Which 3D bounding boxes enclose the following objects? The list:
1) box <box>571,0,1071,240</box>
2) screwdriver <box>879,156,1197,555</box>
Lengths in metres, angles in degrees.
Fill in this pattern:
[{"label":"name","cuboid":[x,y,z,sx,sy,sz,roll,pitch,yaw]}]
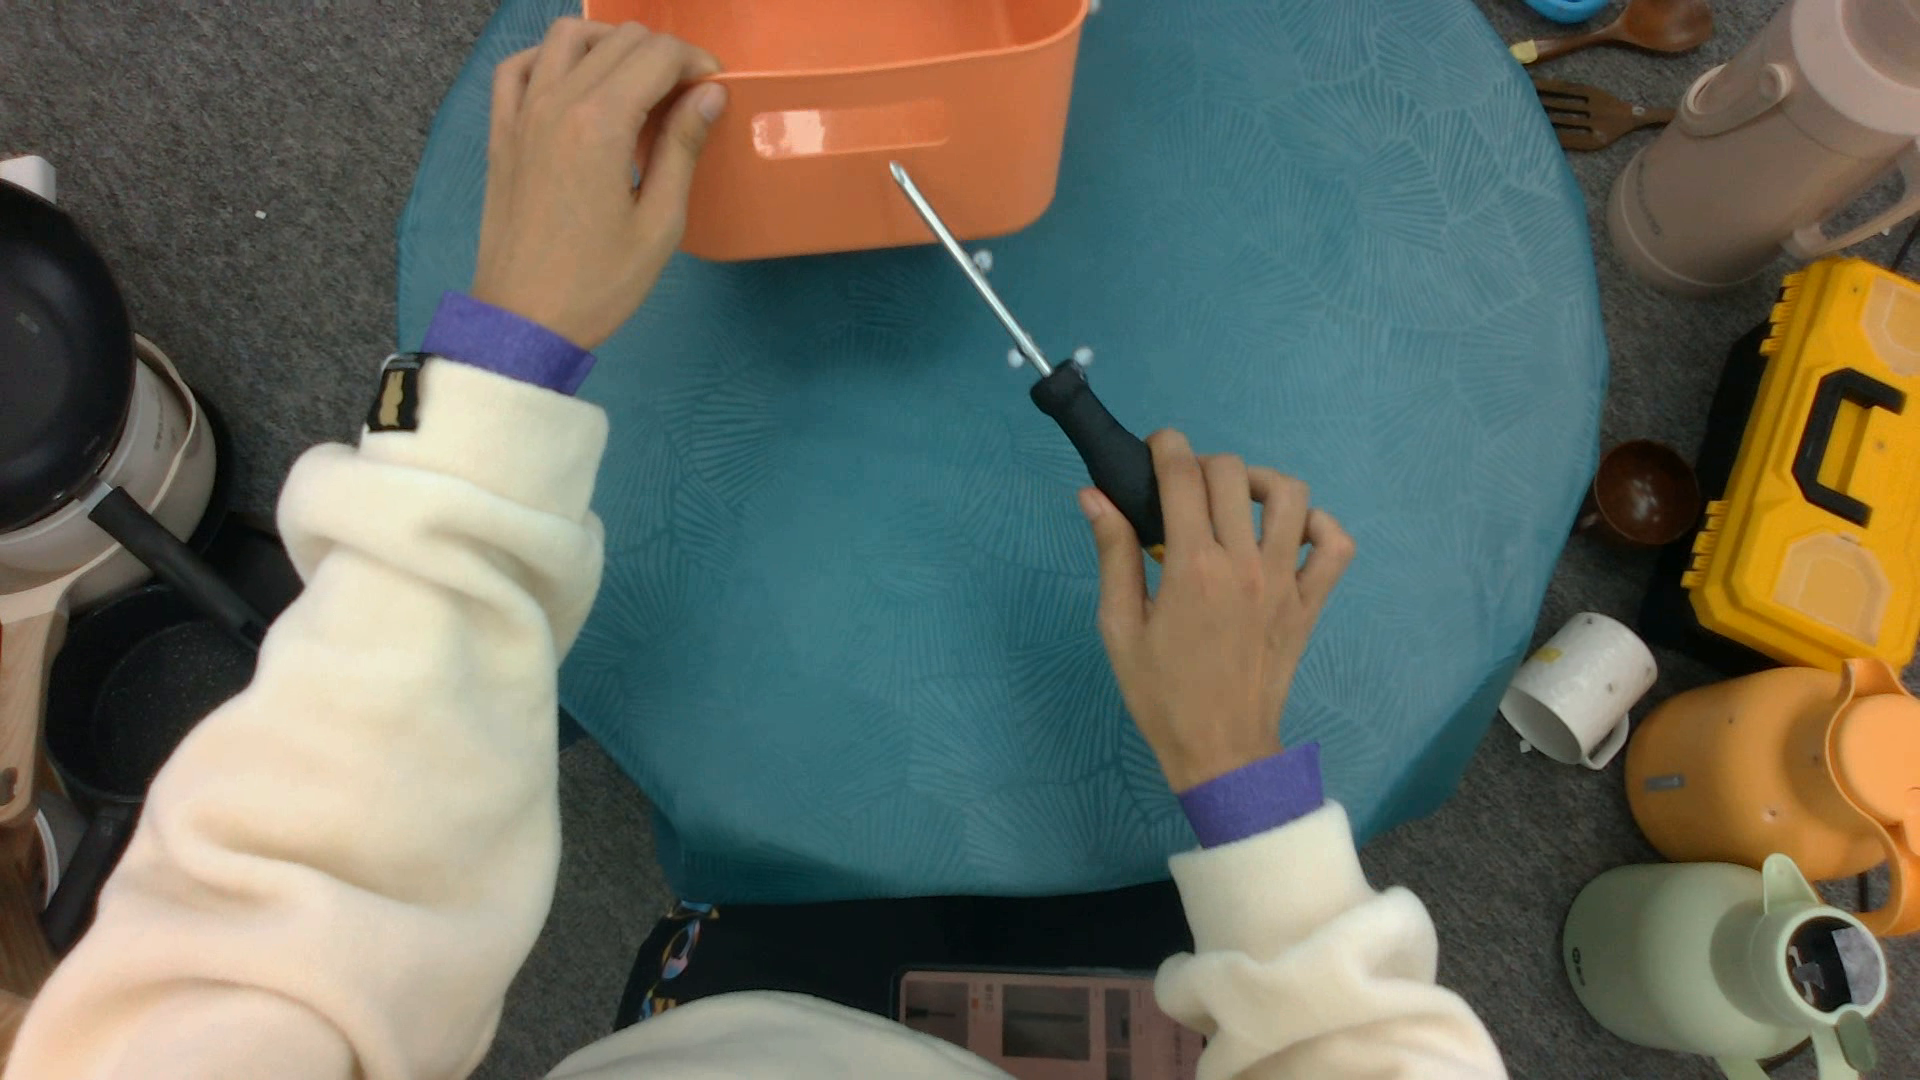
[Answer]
[{"label":"box","cuboid":[-0.066,-0.254,0.619,0.199,0.102,0.274,-6,53,-6]},{"label":"screwdriver","cuboid":[0.032,-0.075,0.549,0.031,0.031,0.196,-38,98,-12]}]
